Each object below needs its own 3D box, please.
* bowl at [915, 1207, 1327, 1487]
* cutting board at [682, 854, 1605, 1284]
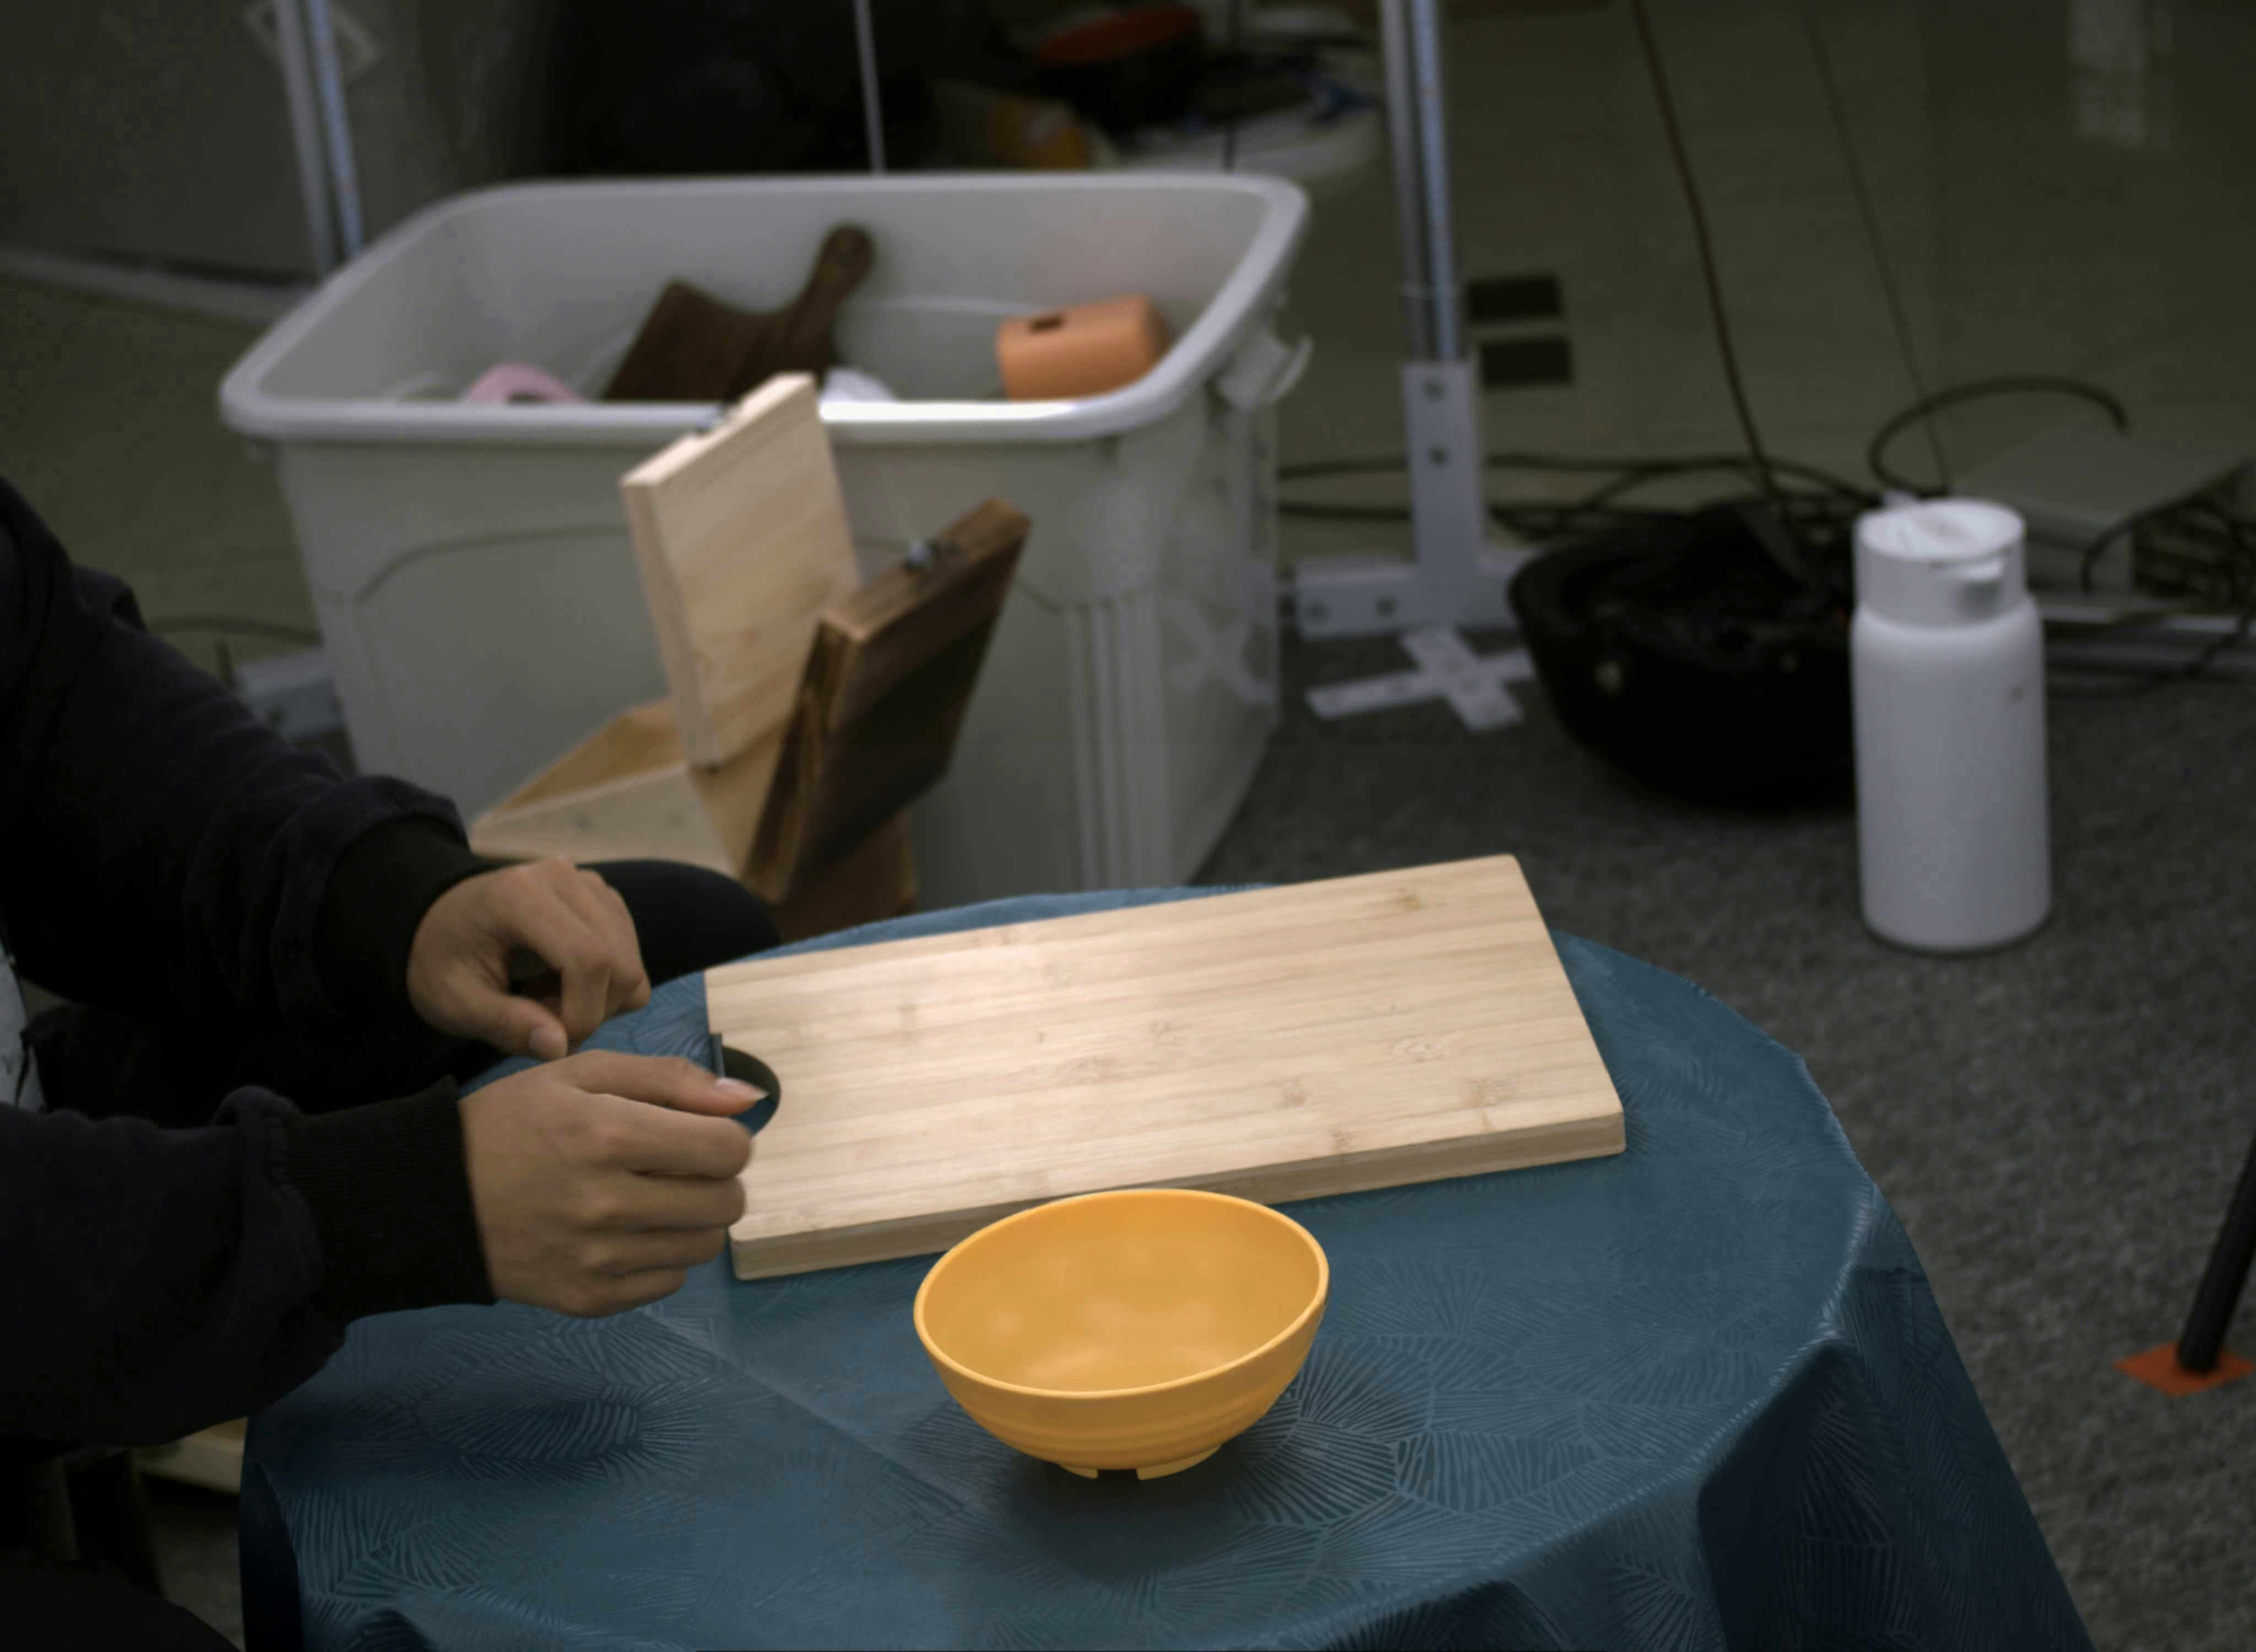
[{"bbox_3d":[0.000,0.189,1.979,0.145,0.061,0.143,-5,22,2],"label":"bowl"},{"bbox_3d":[0.001,0.092,2.234,0.348,0.024,0.247,-8,25,-4],"label":"cutting board"}]
